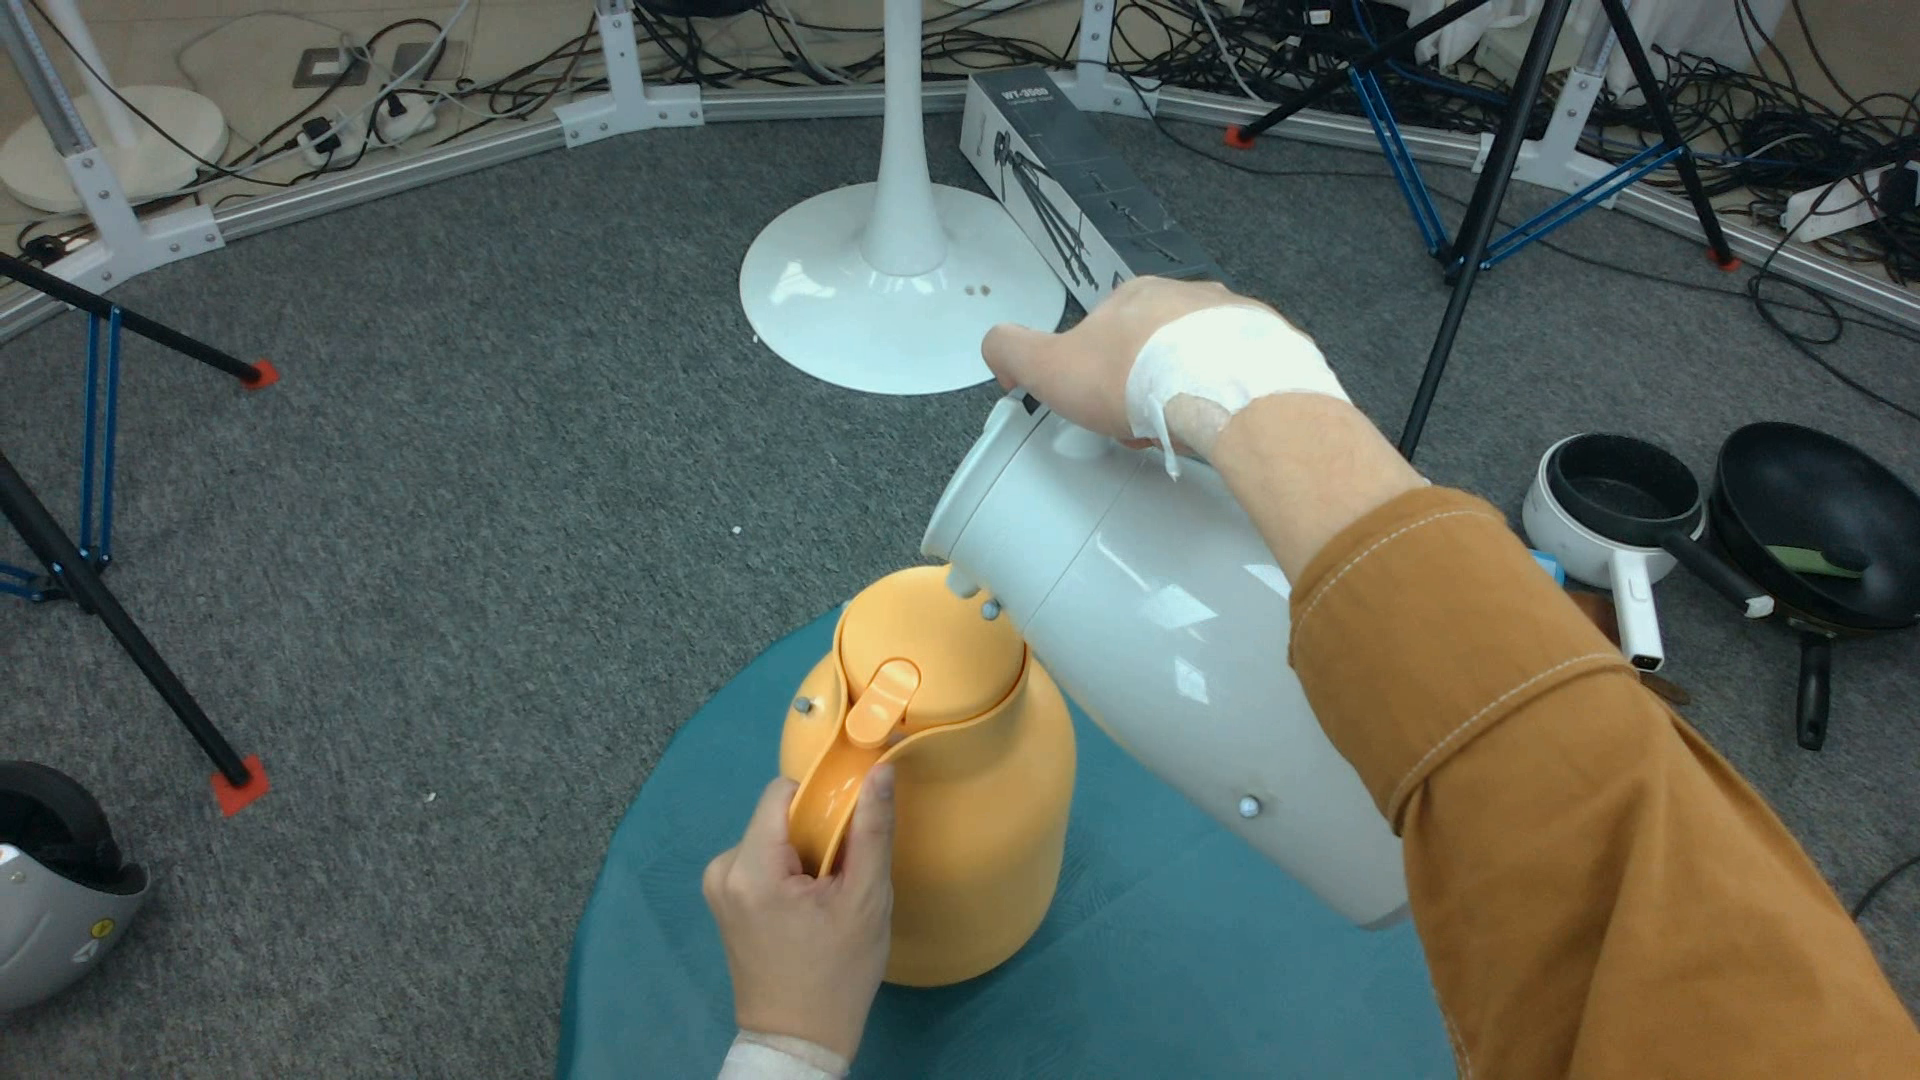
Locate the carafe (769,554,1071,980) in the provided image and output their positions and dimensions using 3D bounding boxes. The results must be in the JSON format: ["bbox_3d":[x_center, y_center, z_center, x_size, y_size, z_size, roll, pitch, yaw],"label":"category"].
[{"bbox_3d":[-0.032,0.132,0.741,0.163,0.259,0.203,26,52,20],"label":"carafe"}]

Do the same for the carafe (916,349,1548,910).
[{"bbox_3d":[0.111,0.018,0.576,0.248,0.167,0.133,35,39,5],"label":"carafe"}]
